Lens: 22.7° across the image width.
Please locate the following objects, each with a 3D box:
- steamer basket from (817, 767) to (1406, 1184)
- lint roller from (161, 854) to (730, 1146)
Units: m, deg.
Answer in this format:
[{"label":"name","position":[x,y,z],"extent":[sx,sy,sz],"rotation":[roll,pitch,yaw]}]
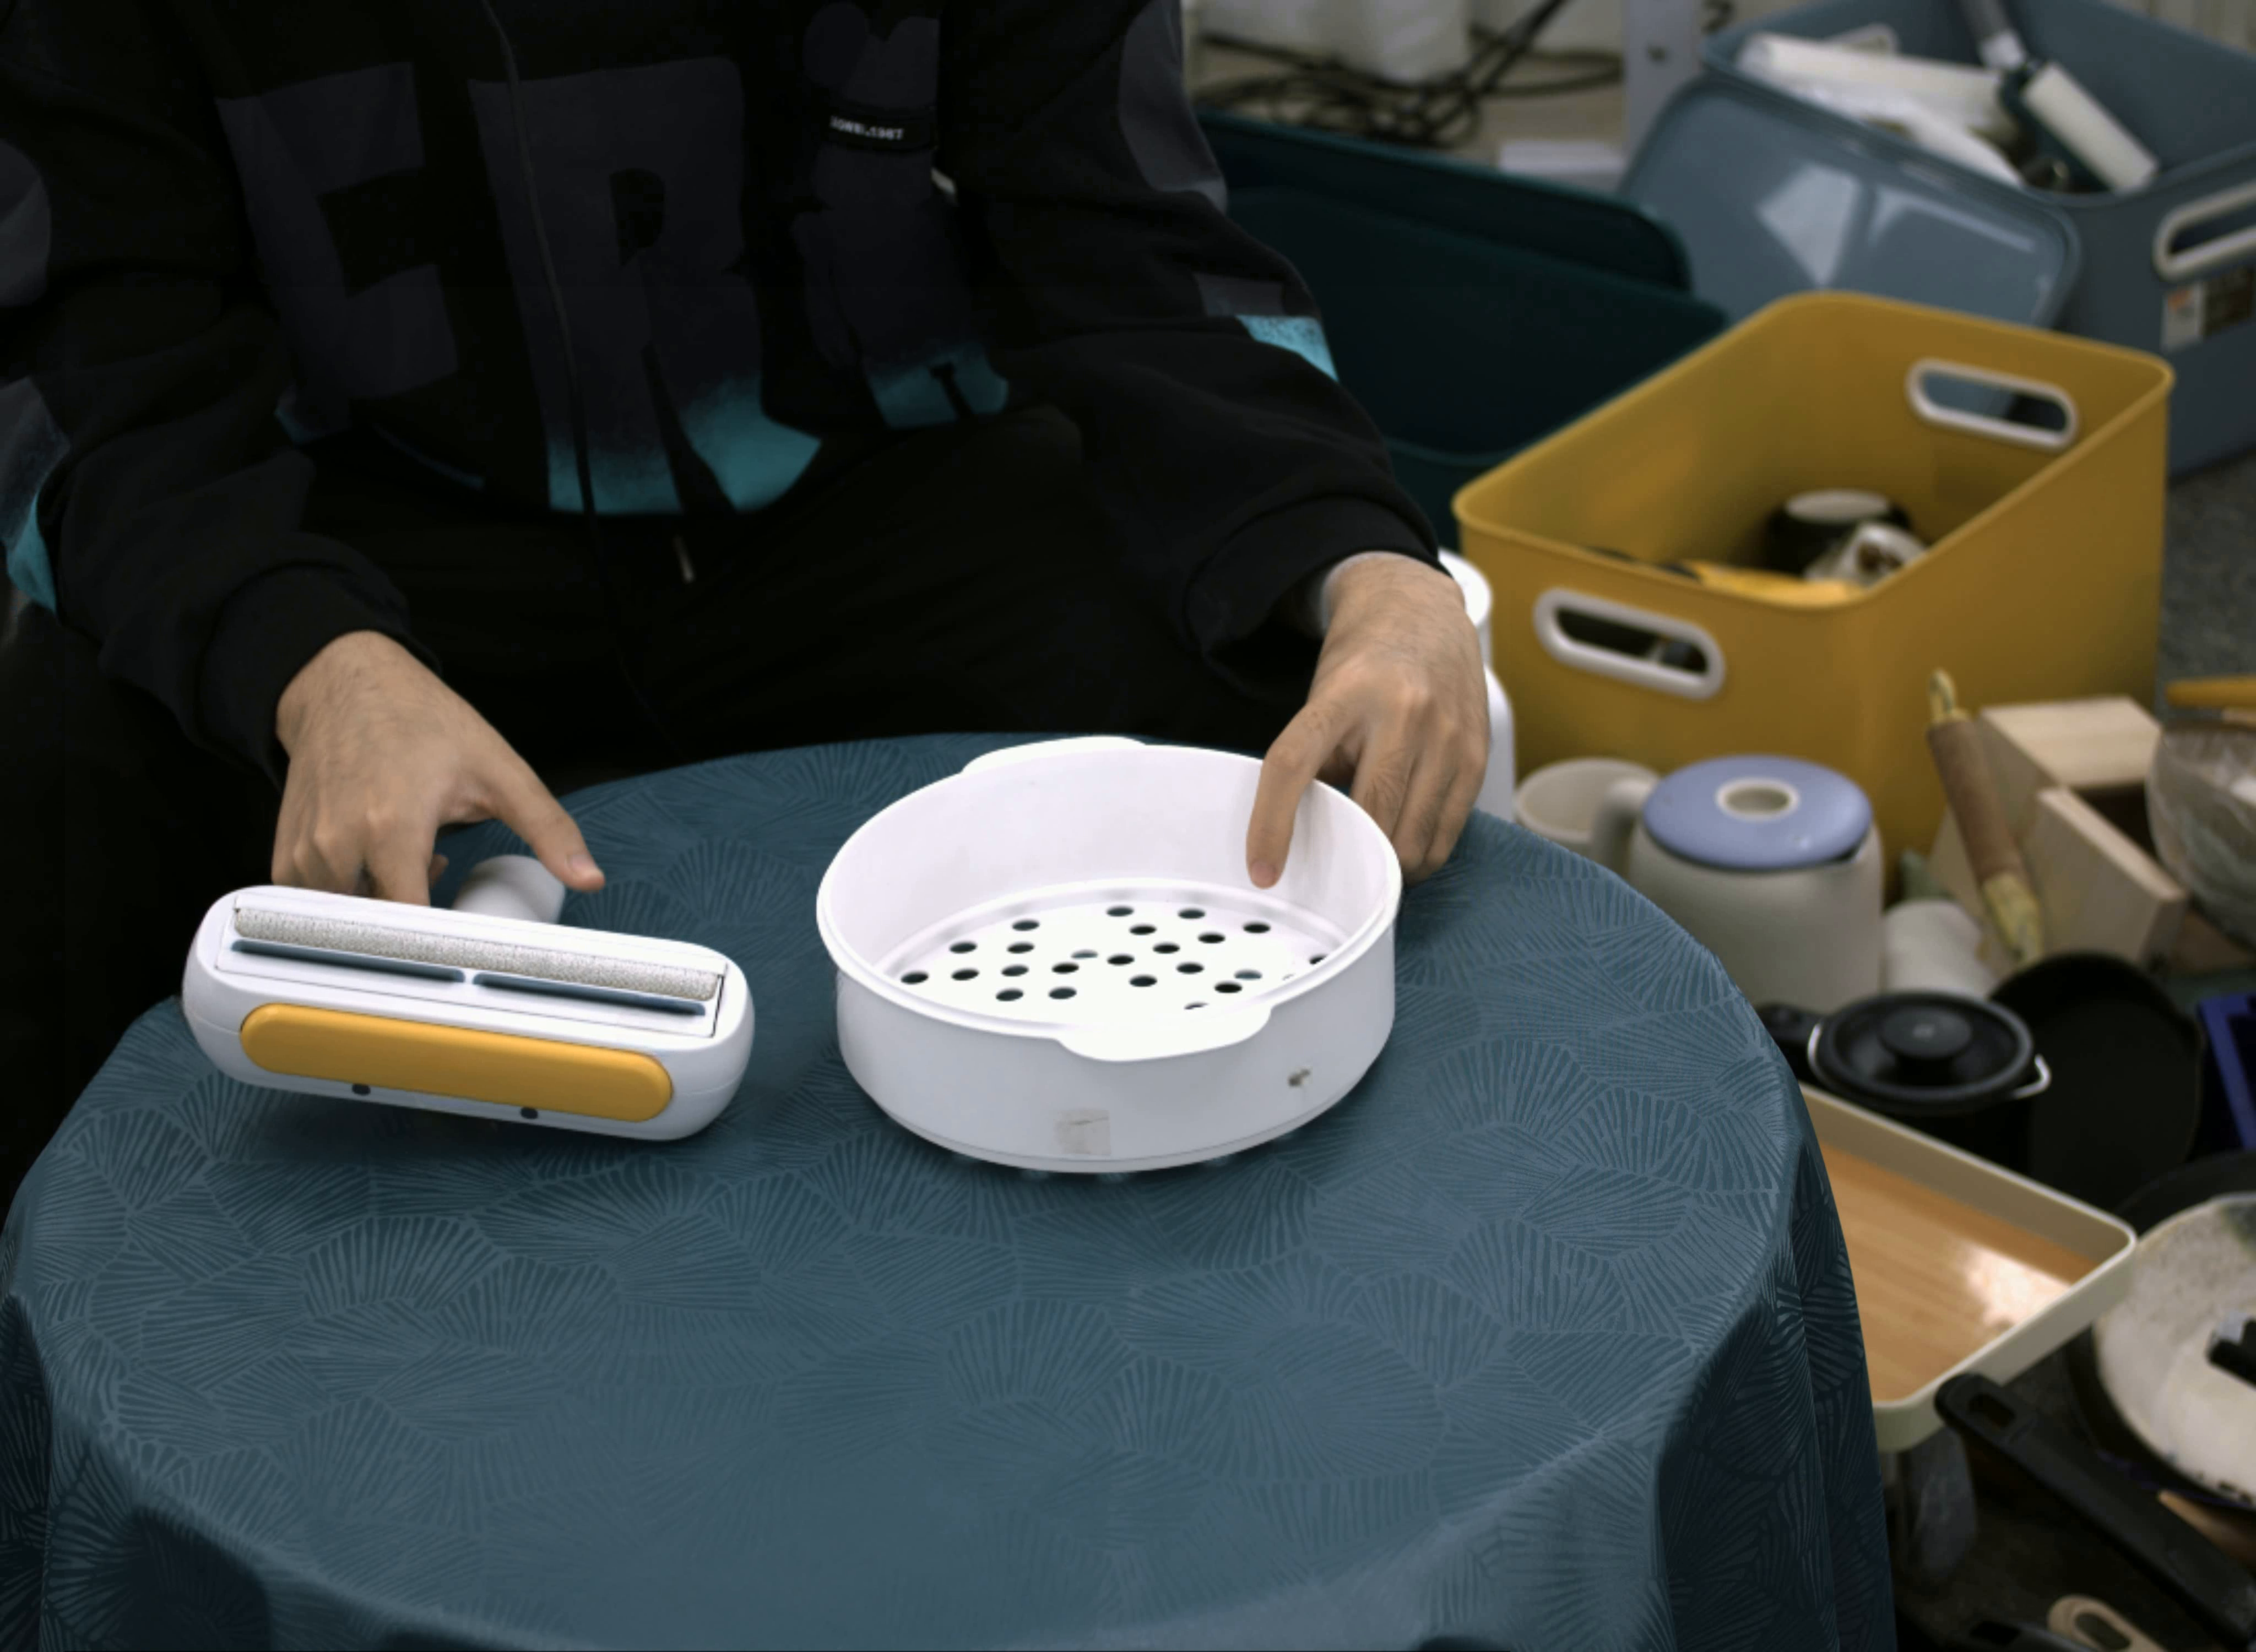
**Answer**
[{"label":"steamer basket","position":[-0.005,0.052,1.928],"extent":[0.201,0.068,0.233],"rotation":[-6,25,-10]},{"label":"lint roller","position":[-0.226,0.044,1.959],"extent":[0.192,0.073,0.195],"rotation":[5,26,3]}]
